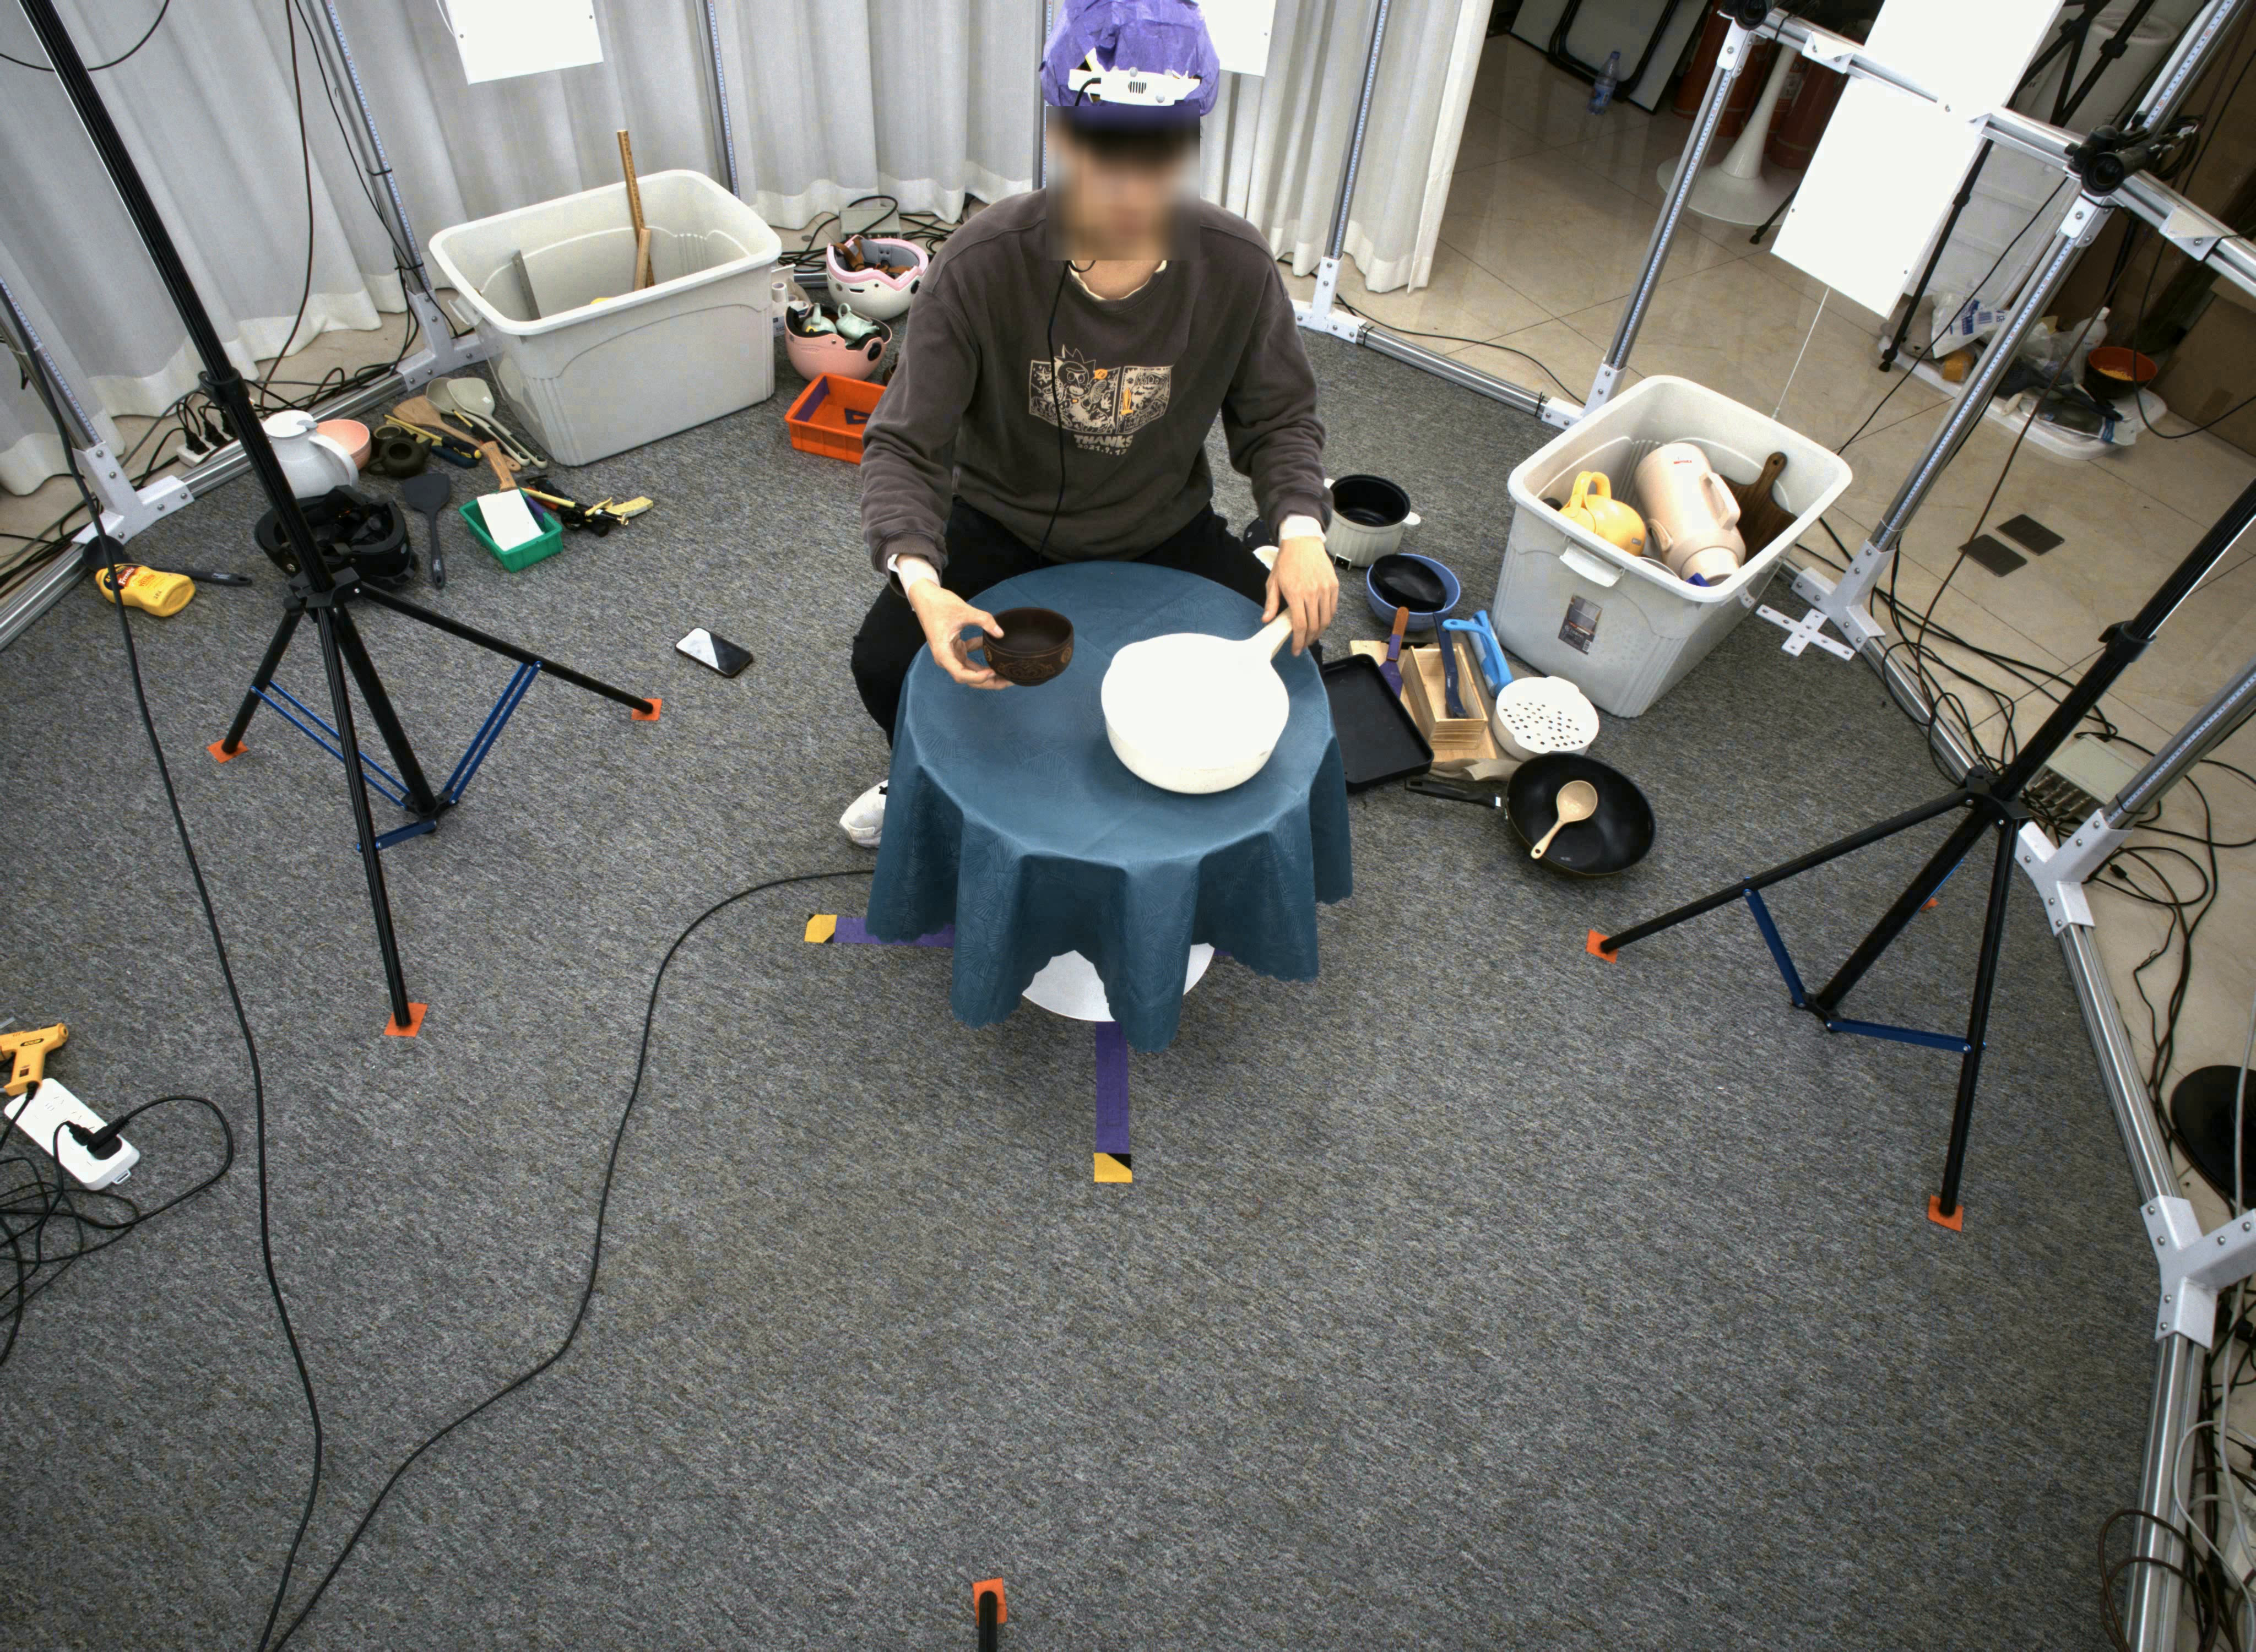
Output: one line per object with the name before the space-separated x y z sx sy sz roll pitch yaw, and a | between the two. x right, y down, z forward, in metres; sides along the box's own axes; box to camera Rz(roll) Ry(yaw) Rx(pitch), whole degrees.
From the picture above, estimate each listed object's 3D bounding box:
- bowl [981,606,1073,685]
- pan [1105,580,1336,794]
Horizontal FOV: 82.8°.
bowl | -0.128 -0.225 1.648 0.118 0.068 0.121 -1 37 1
pan | 0.154 -0.201 1.786 0.267 0.099 0.439 33 55 25
